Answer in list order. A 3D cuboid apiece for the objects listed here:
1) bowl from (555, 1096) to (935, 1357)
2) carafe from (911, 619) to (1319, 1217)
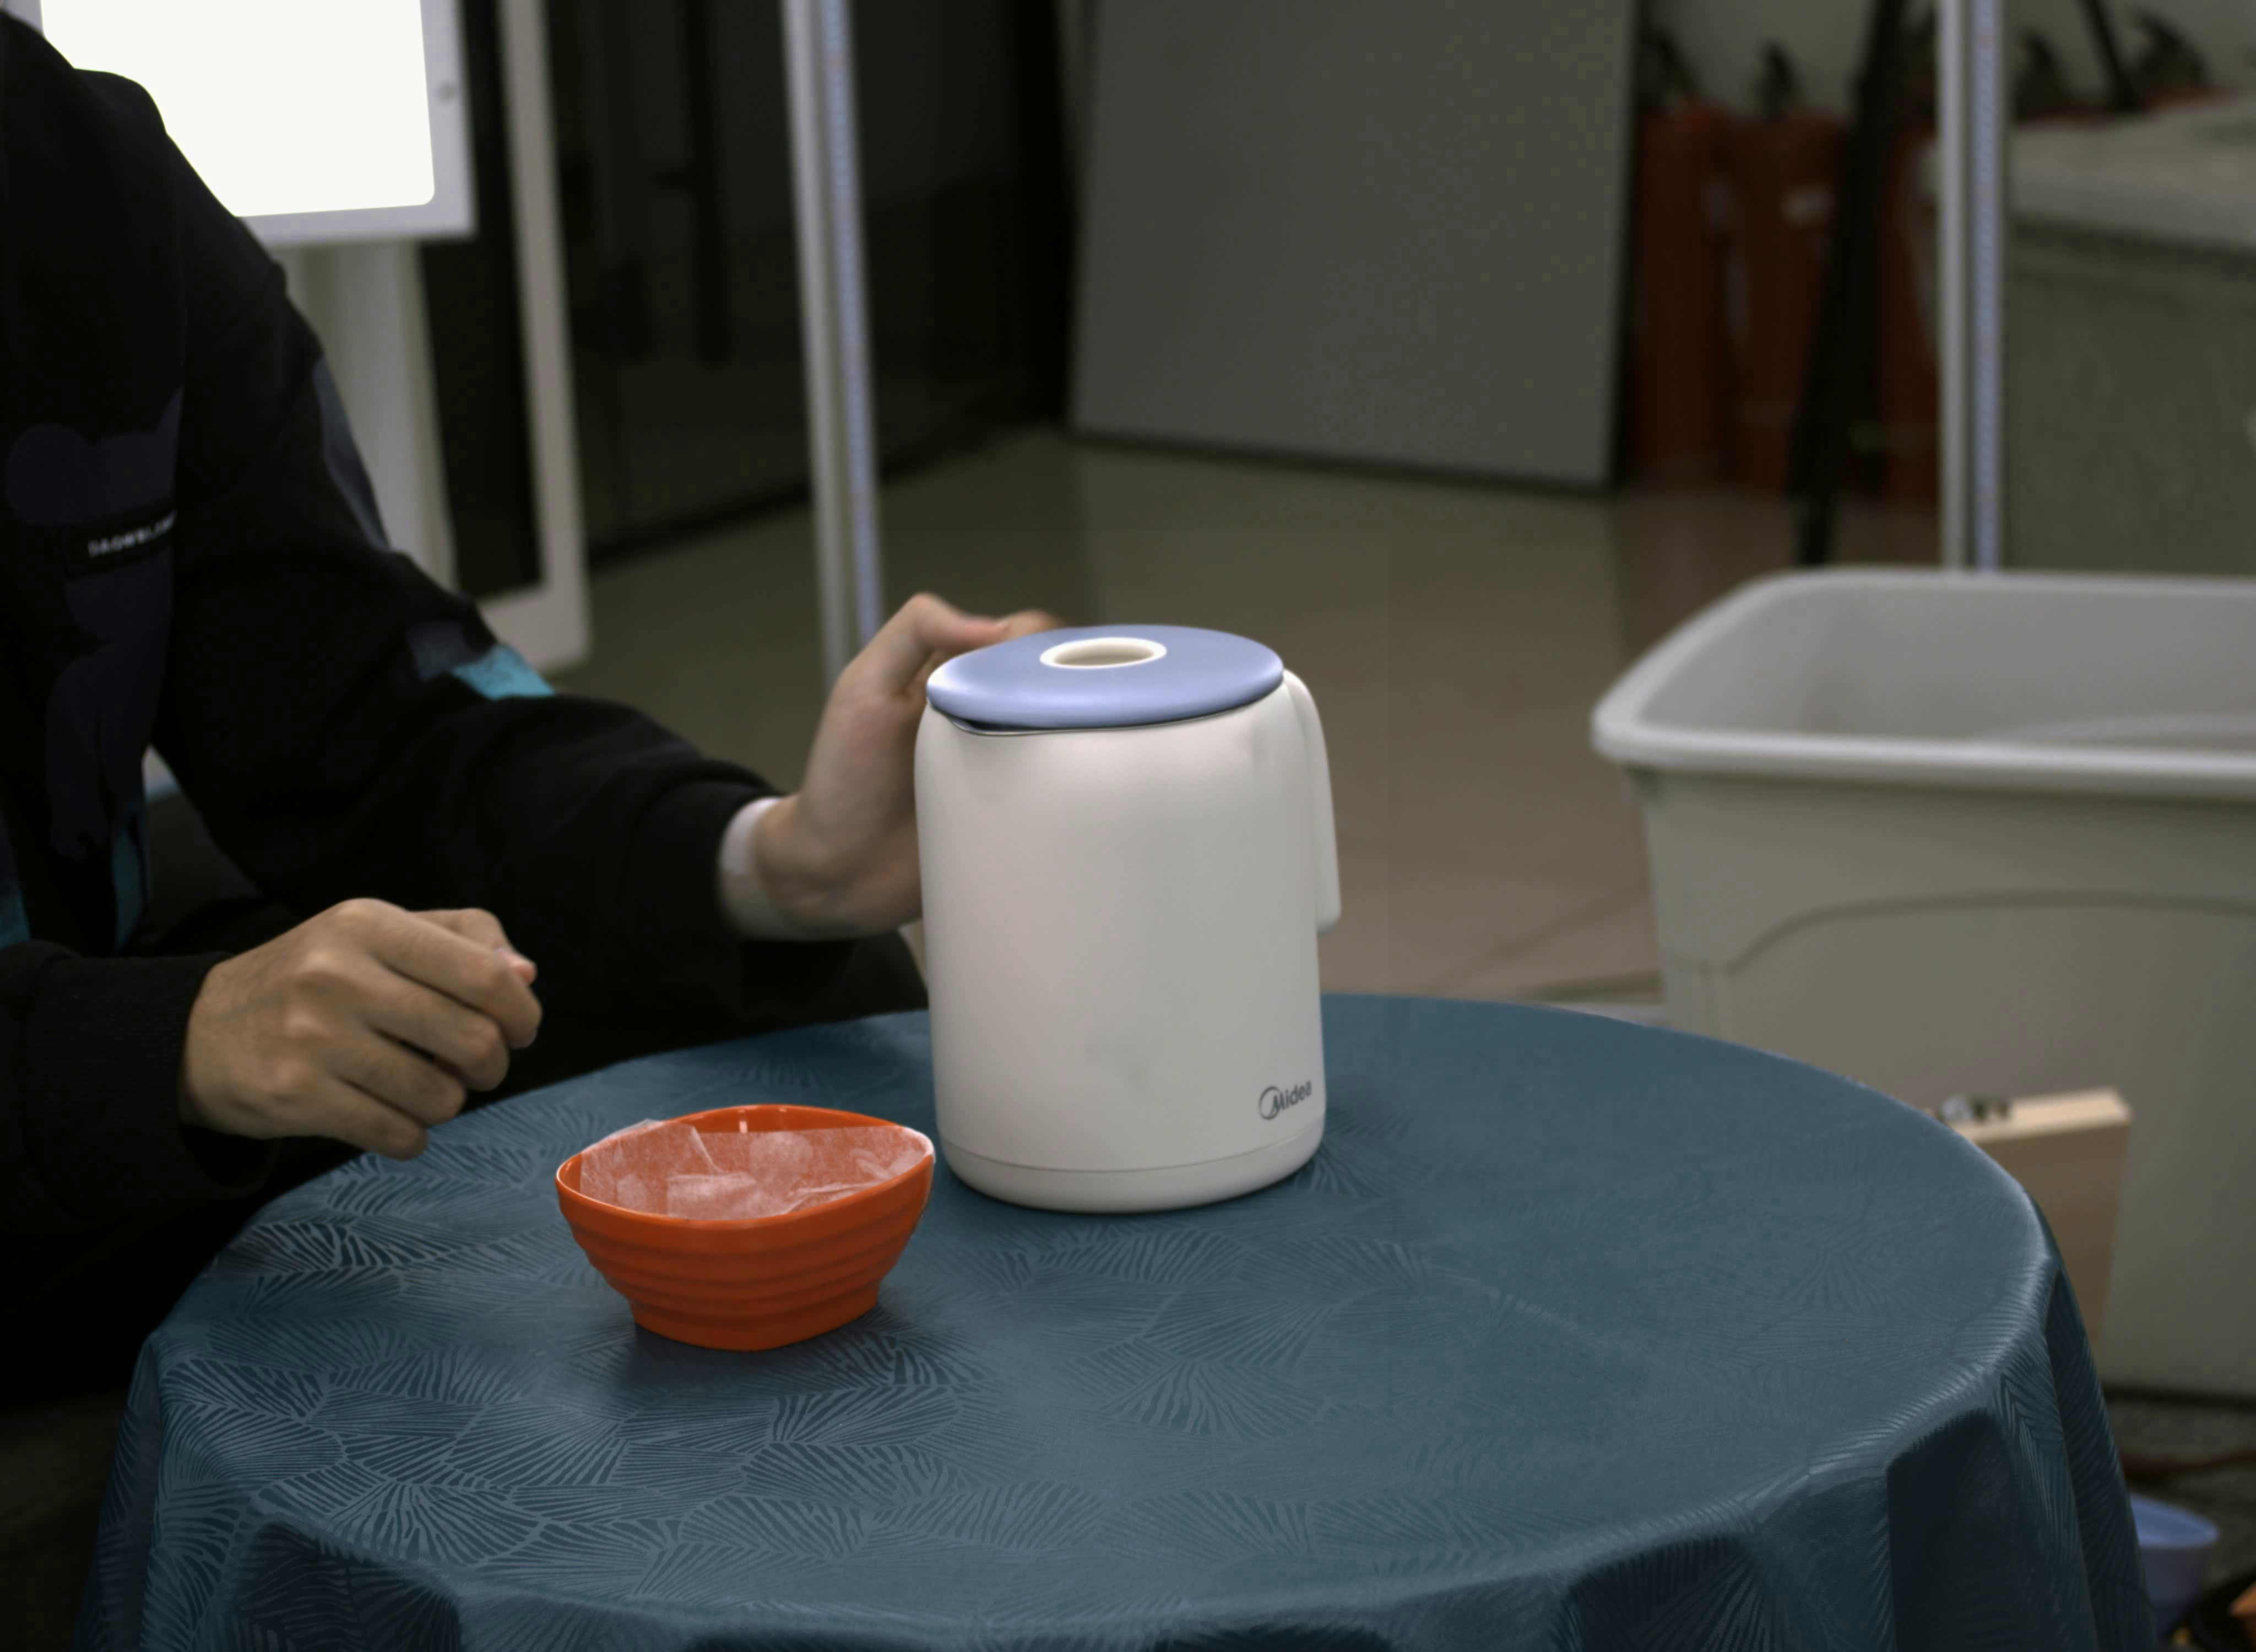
[{"bbox_3d":[-0.117,0.126,1.673,0.117,0.052,0.119,-4,16,0],"label":"bowl"},{"bbox_3d":[0.009,0.025,1.803,0.133,0.184,0.187,7,15,35],"label":"carafe"}]
